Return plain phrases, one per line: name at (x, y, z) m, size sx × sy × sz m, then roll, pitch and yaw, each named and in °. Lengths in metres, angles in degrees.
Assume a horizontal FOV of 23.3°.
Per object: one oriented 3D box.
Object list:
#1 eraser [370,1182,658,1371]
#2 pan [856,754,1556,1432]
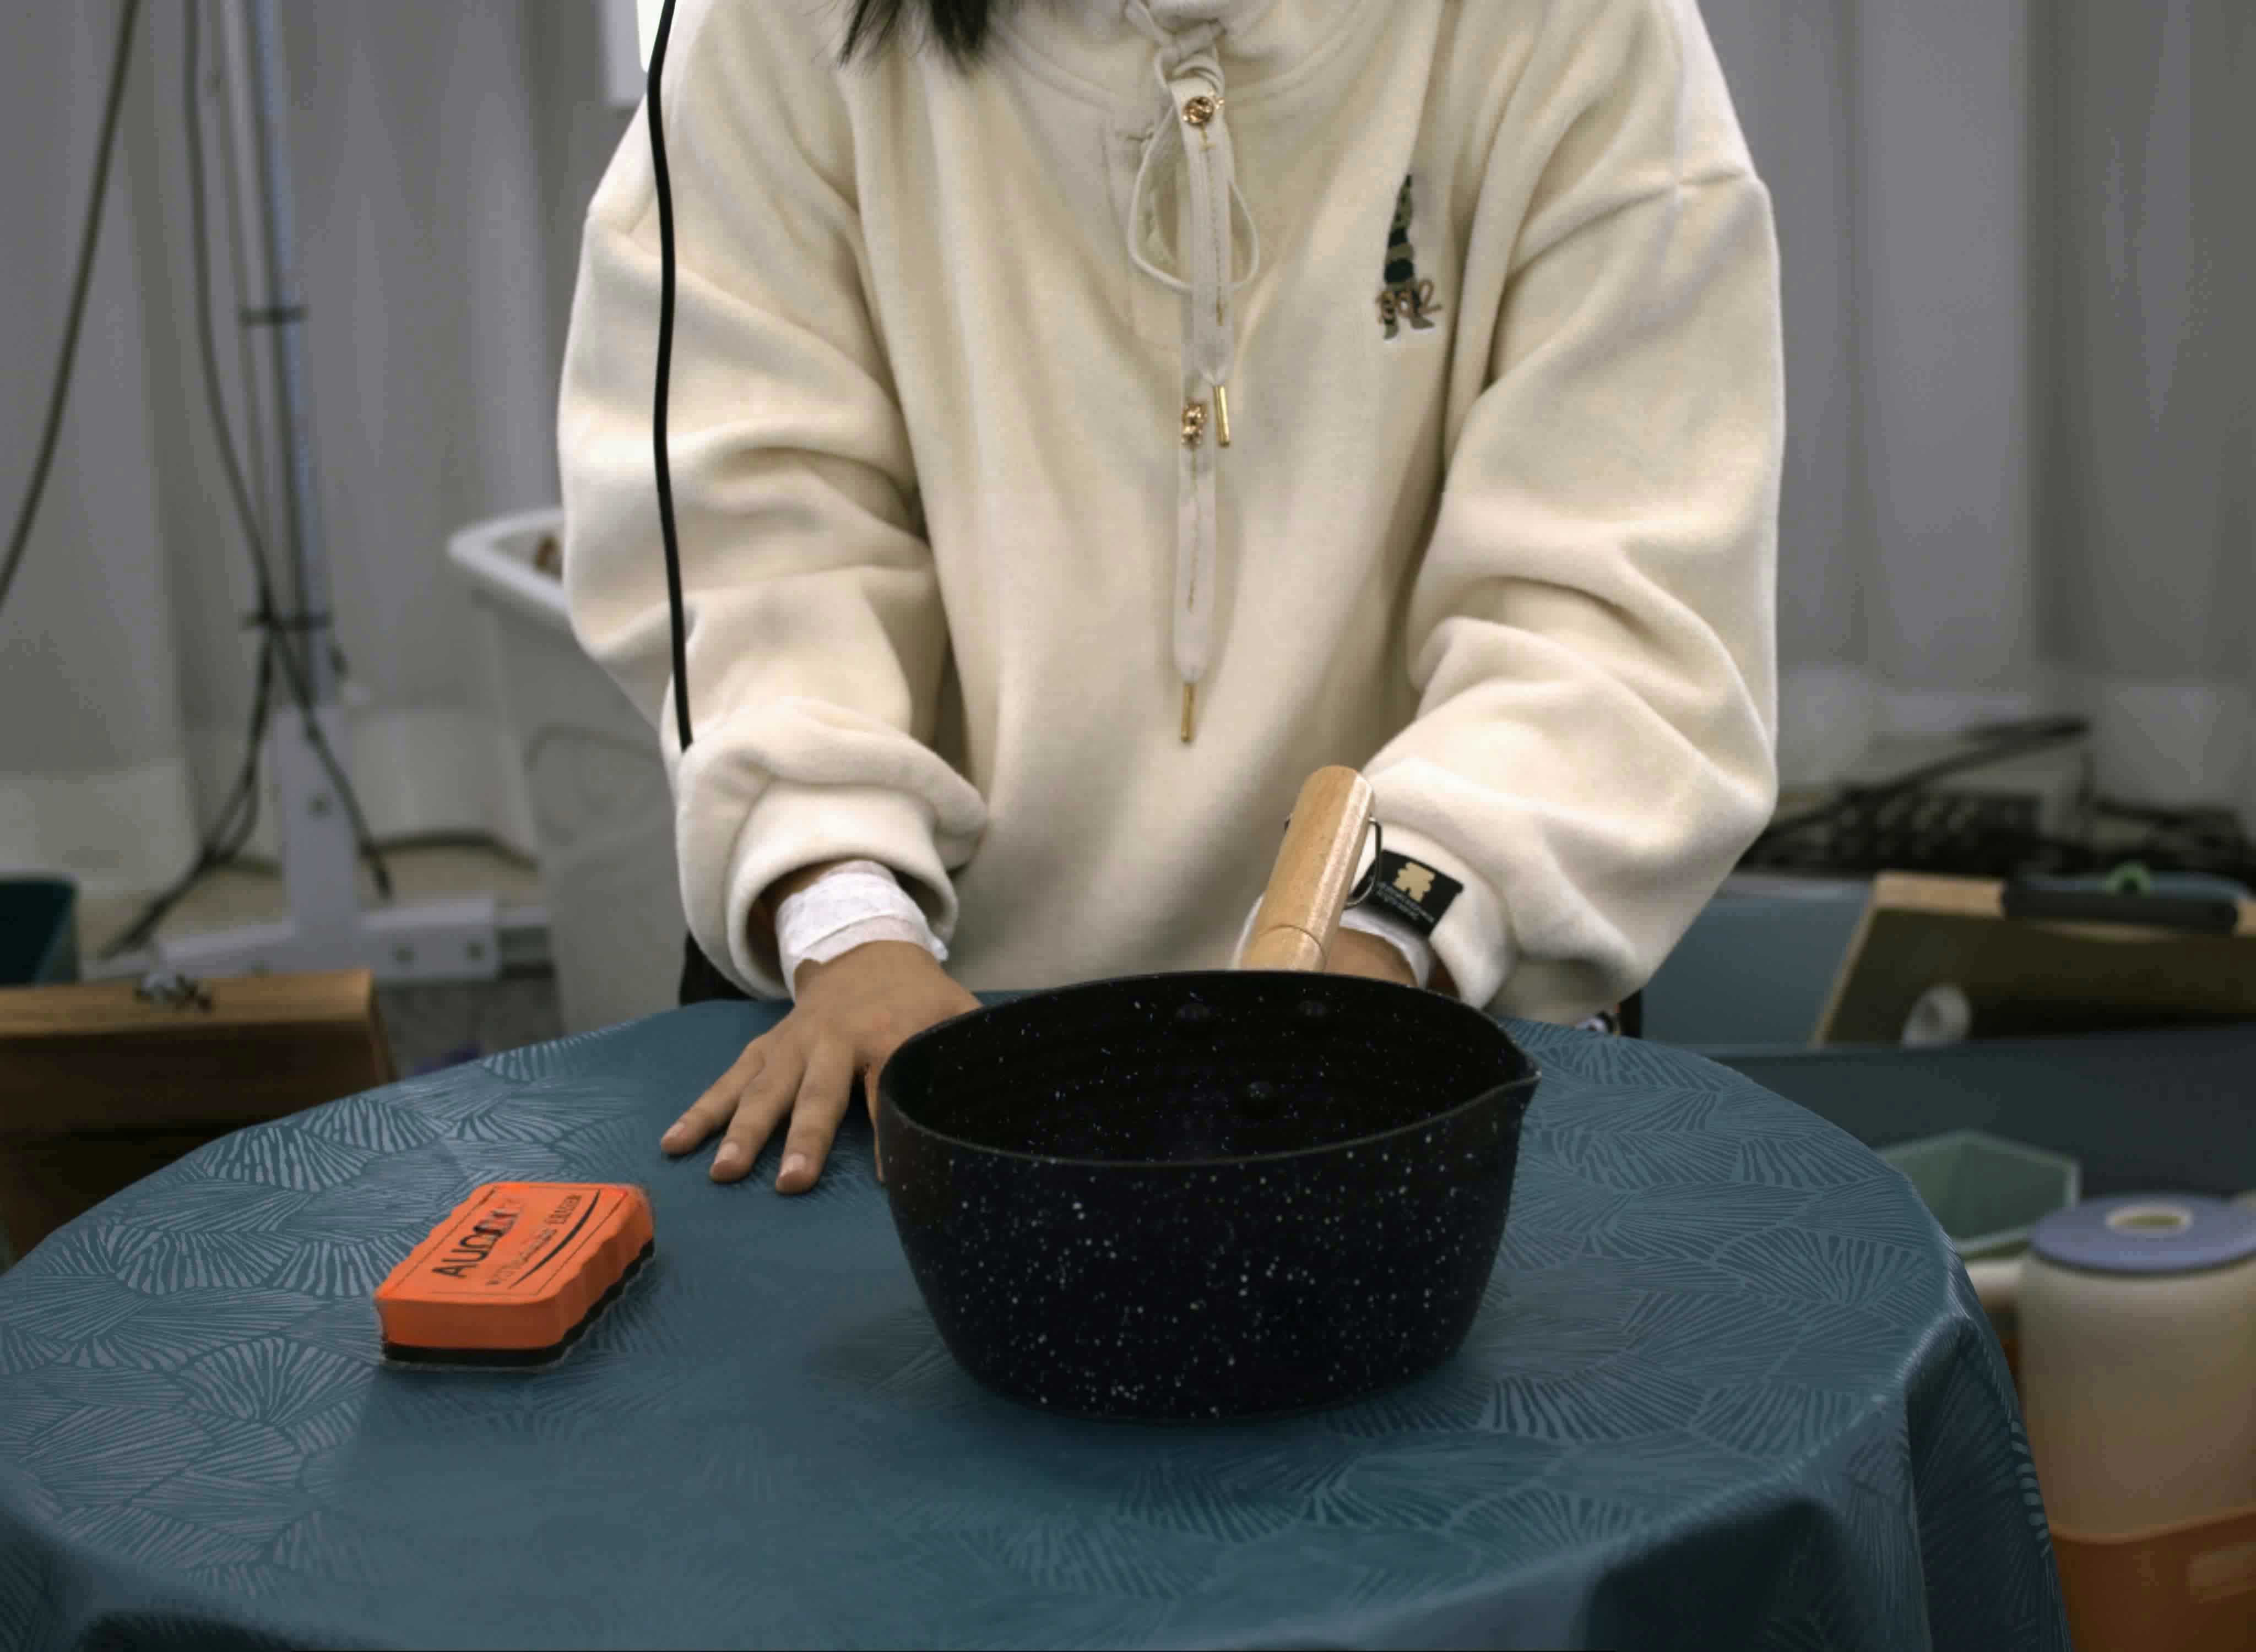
eraser at (-0.182, 0.134, 1.632) m, size 0.059 × 0.023 × 0.108 m, roll 1°, pitch 15°, yaw 14°
pan at (0.036, 0.075, 1.647) m, size 0.207 × 0.108 × 0.345 m, roll -1°, pitch 16°, yaw 11°
